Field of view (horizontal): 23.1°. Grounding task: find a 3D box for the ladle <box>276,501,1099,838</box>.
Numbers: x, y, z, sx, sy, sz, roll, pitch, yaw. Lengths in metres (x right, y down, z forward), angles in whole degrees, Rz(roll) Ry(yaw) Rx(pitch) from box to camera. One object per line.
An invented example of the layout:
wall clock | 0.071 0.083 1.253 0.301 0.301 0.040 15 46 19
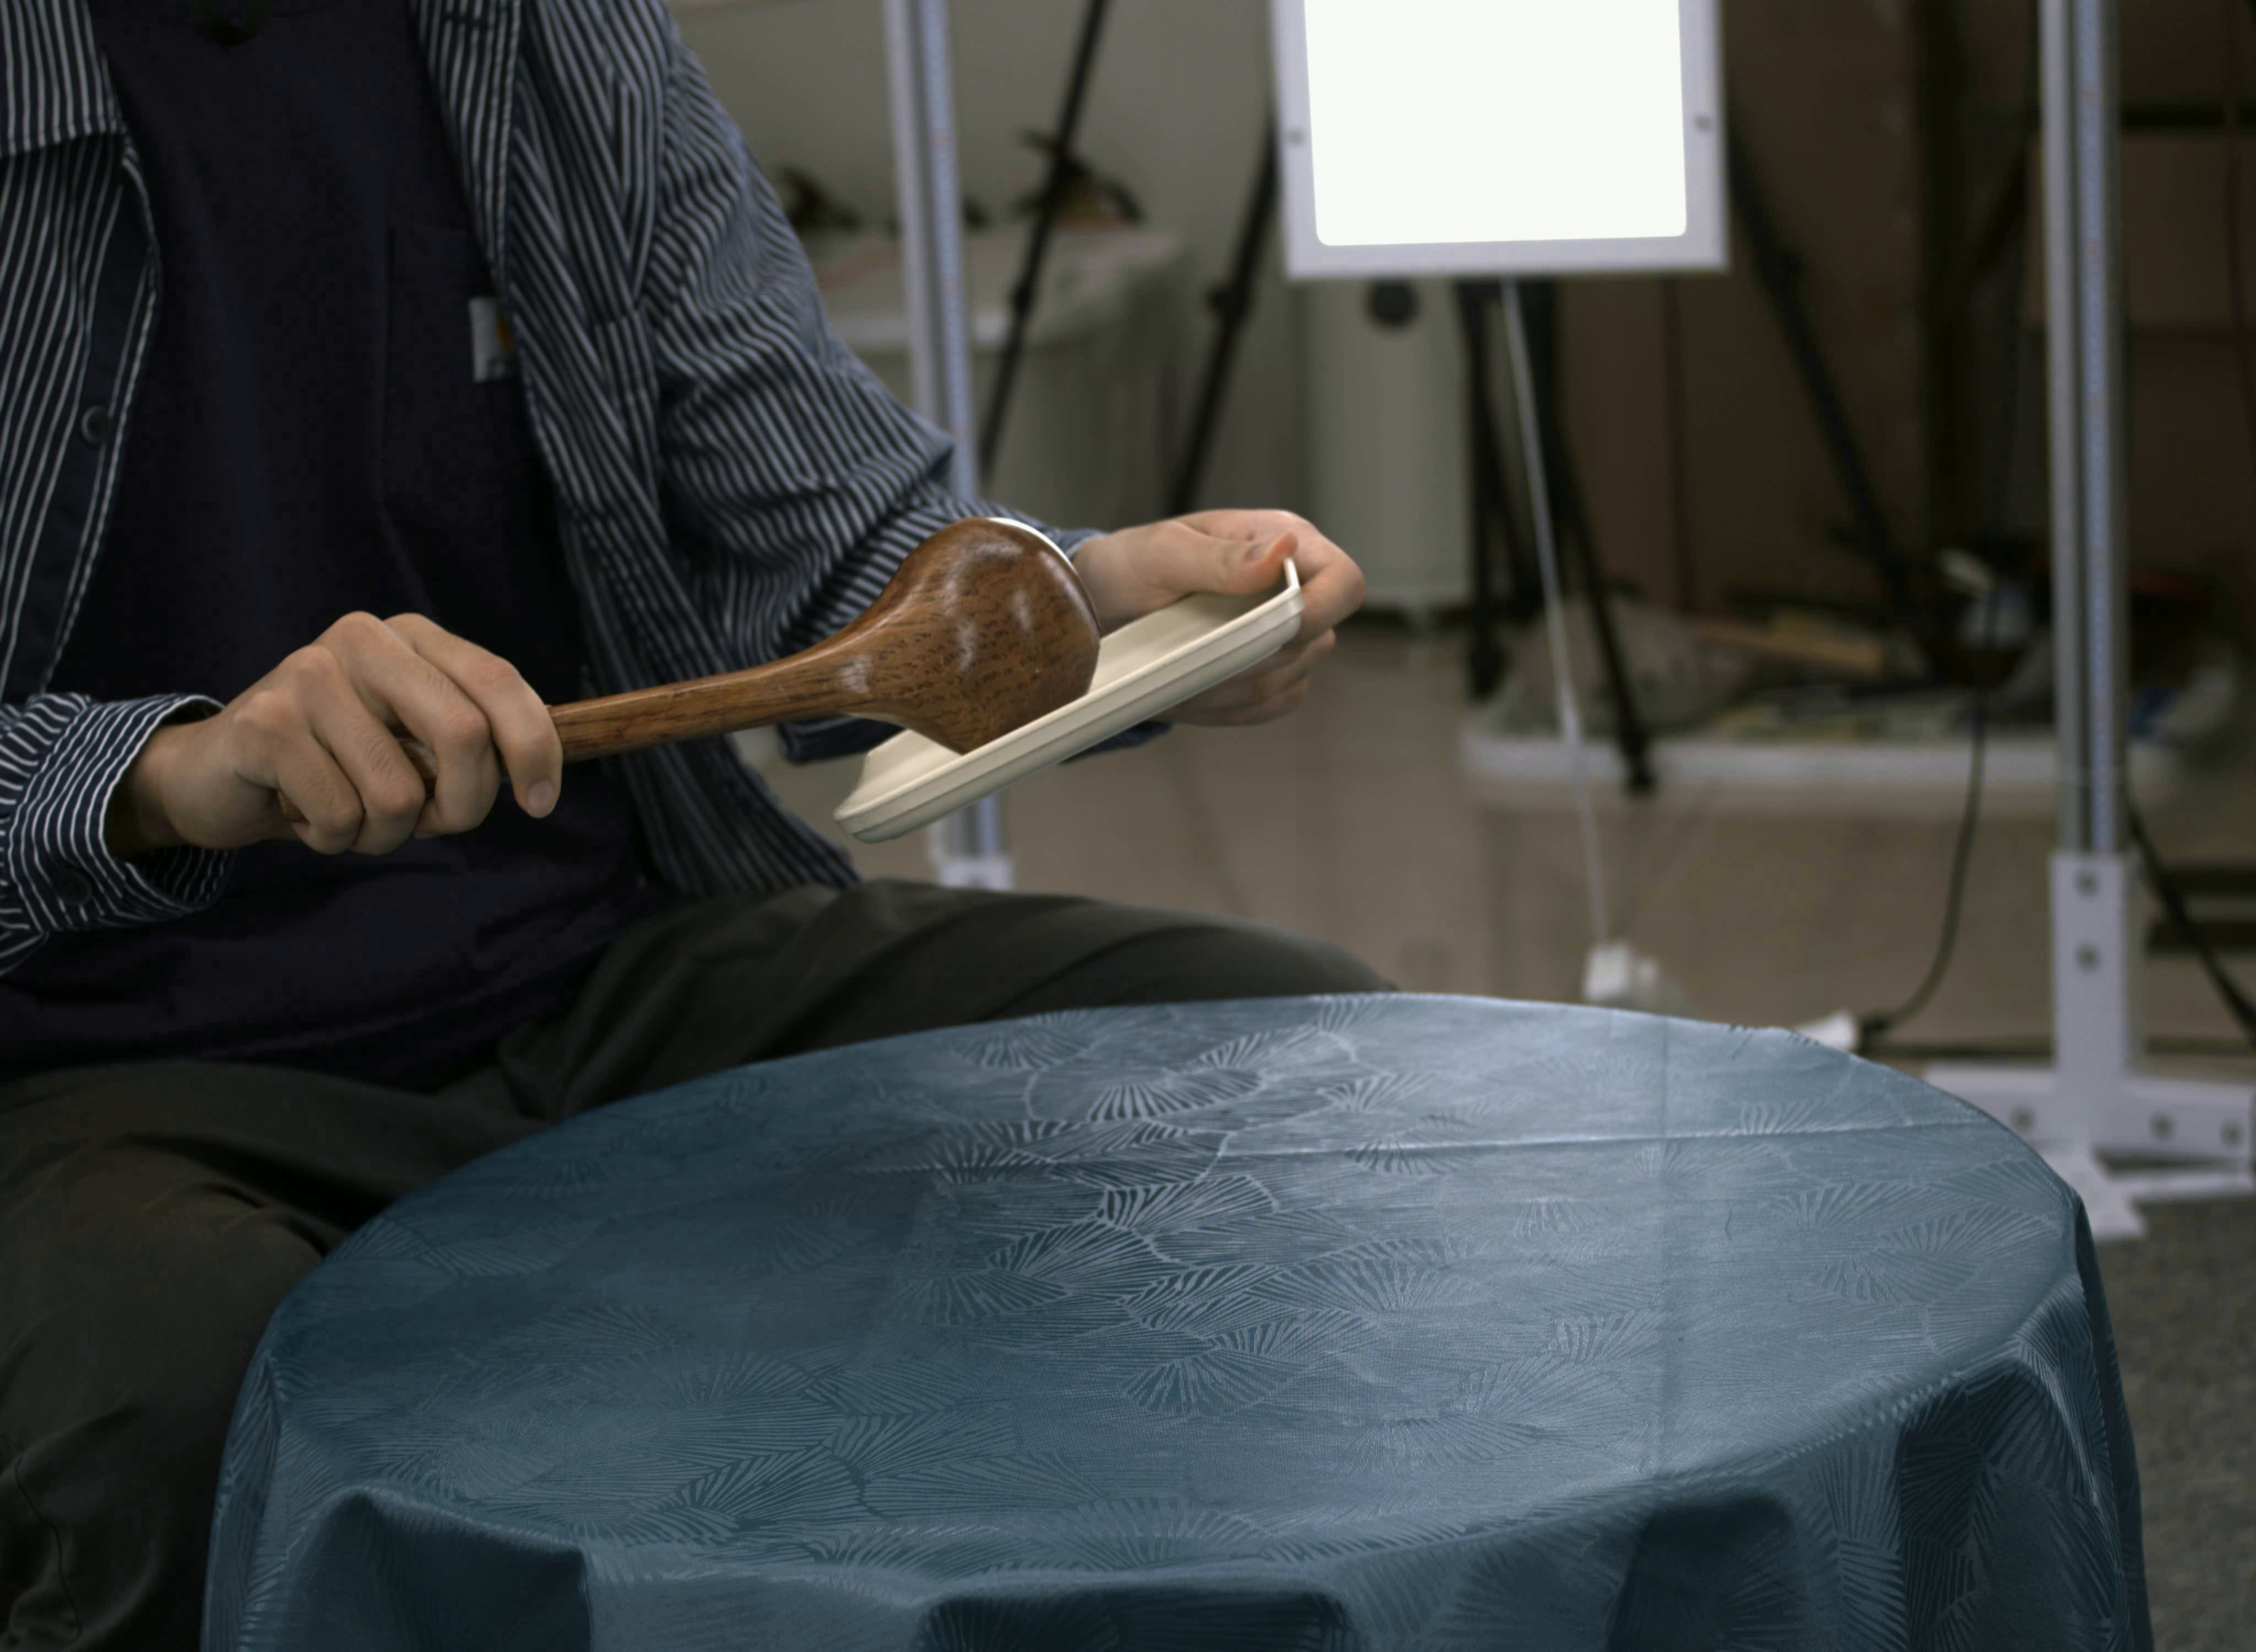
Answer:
ladle | -0.145 -0.043 1.827 0.276 0.082 0.076 -13 -1 13

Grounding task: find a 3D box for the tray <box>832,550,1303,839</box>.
tray | -0.017 -0.045 1.868 0.171 0.017 0.239 -26 5 4
